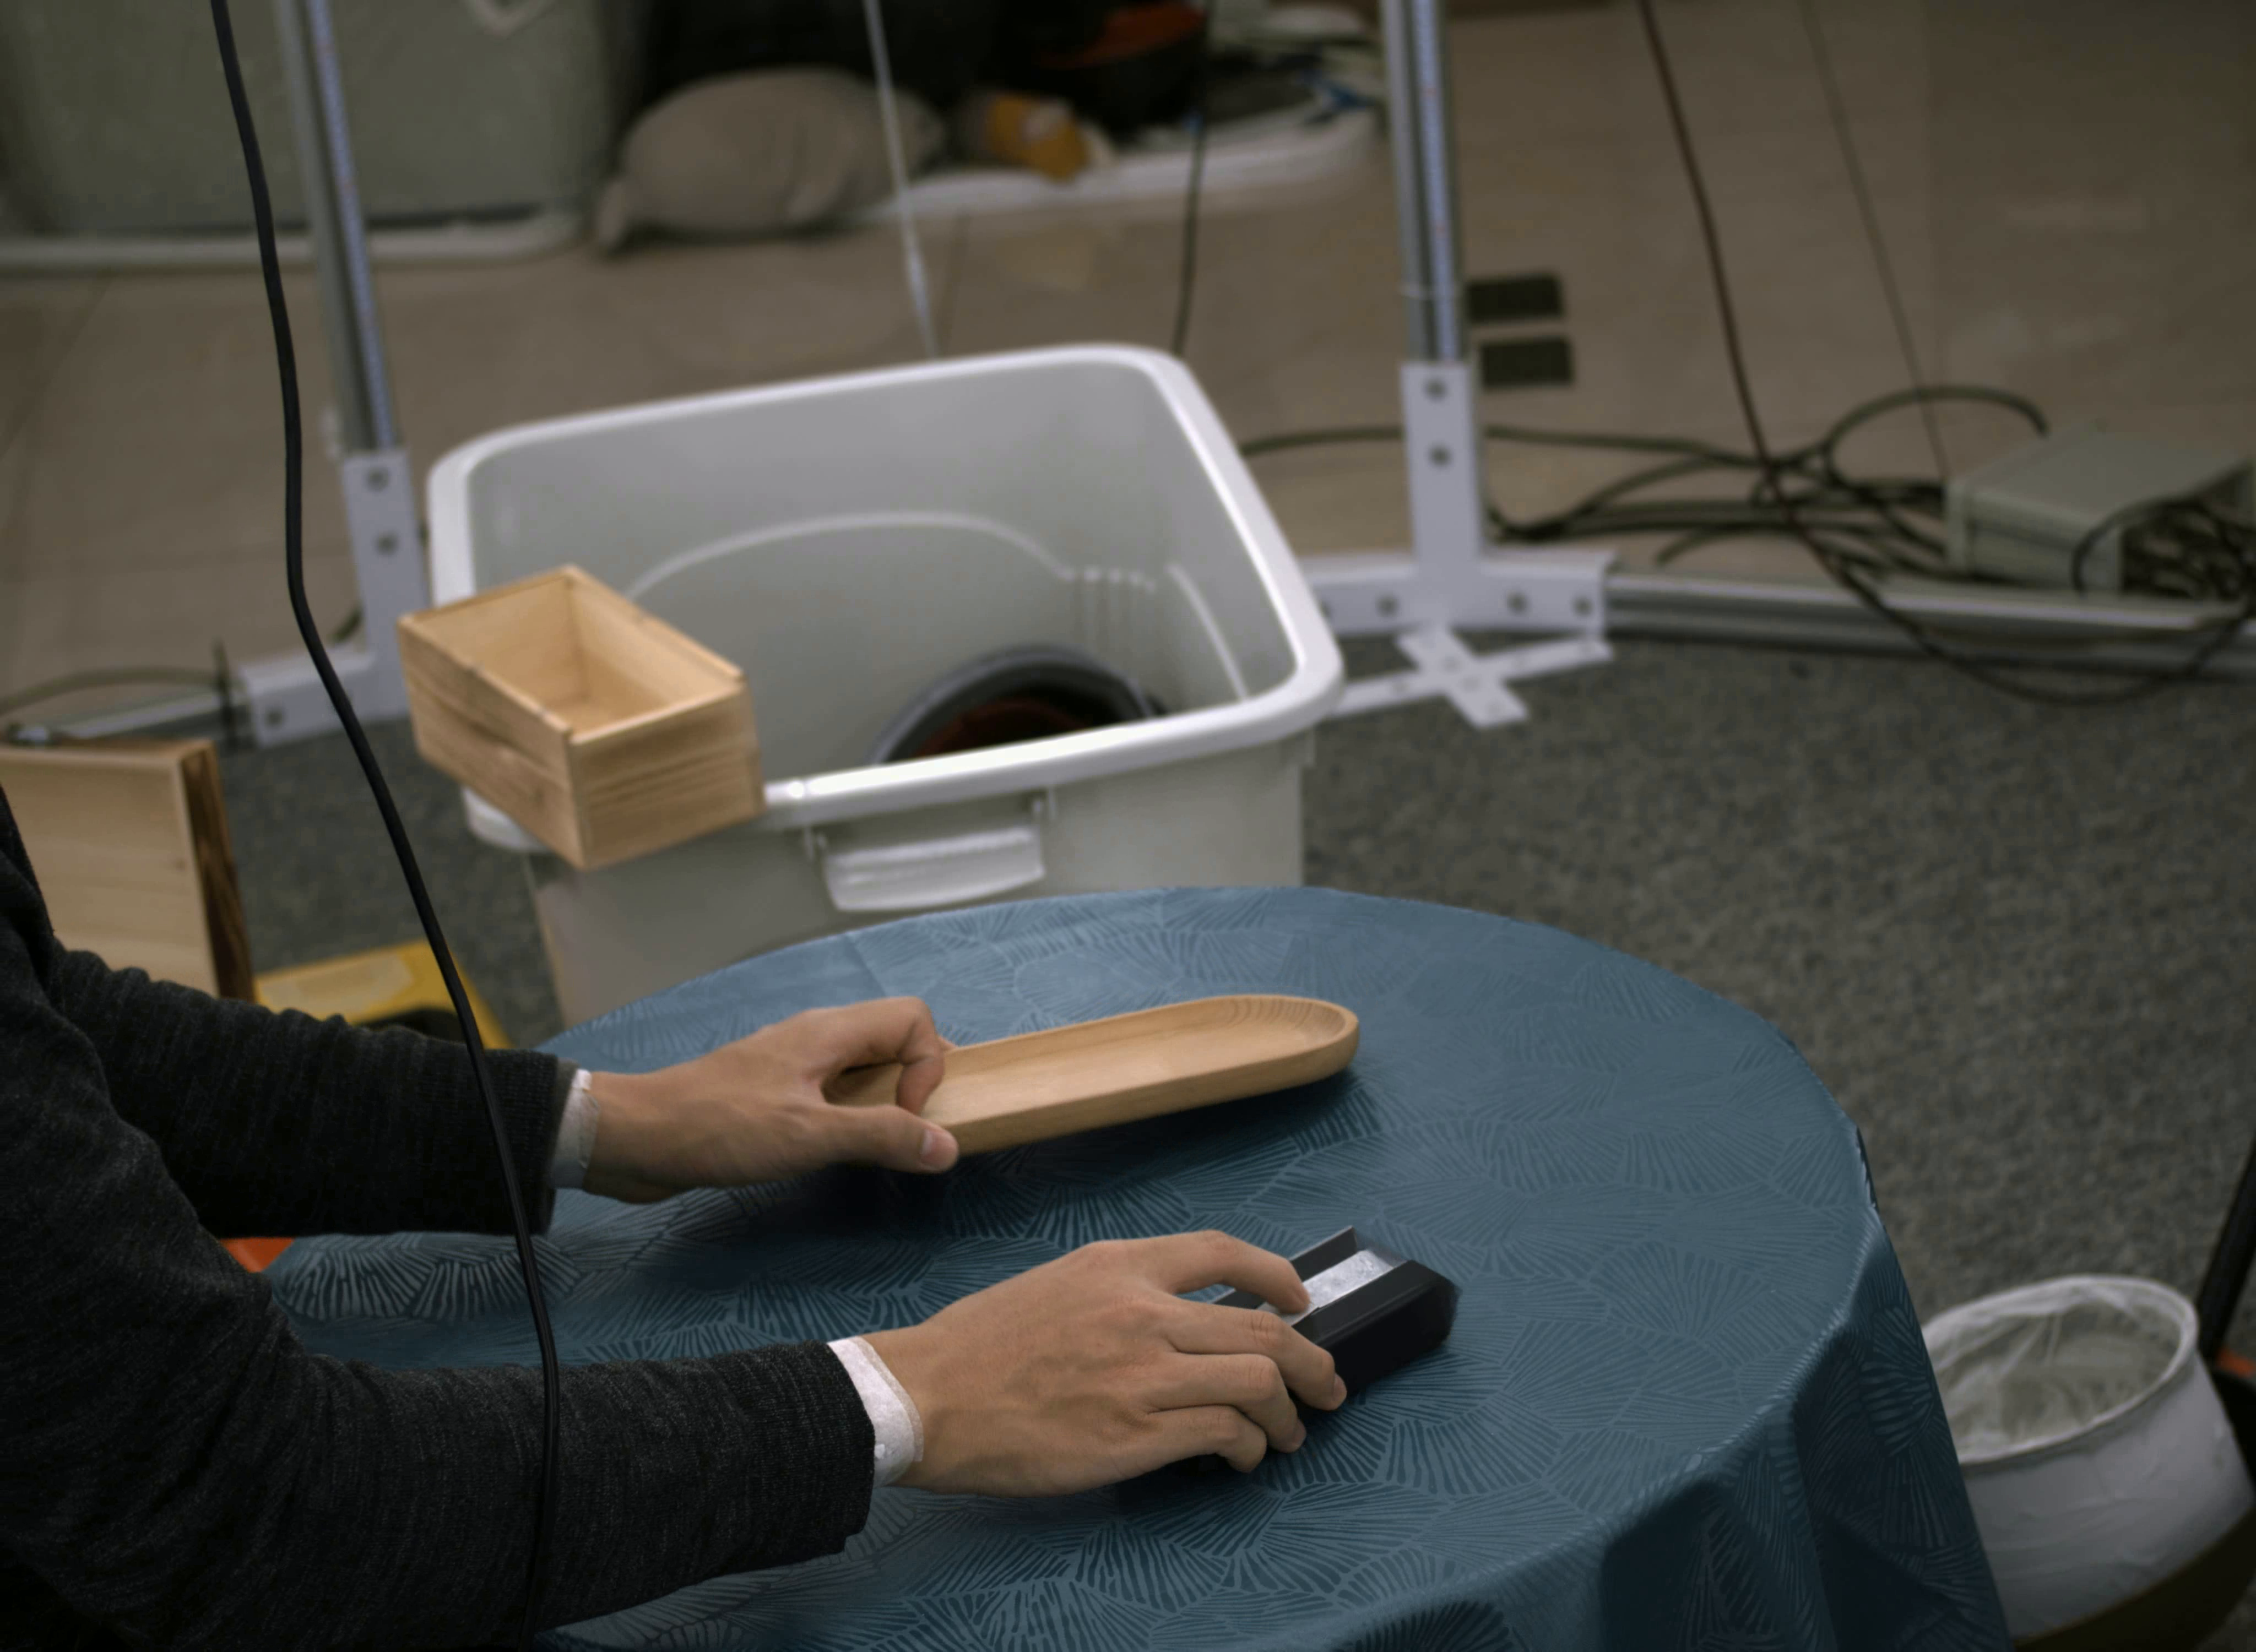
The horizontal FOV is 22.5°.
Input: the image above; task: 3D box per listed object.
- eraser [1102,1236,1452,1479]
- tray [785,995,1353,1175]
[{"bbox_3d":[0.054,0.185,1.998,0.124,0.031,0.053,-26,34,-35],"label":"eraser"},{"bbox_3d":[-0.021,0.099,2.187,0.230,0.020,0.101,-13,15,-22],"label":"tray"}]
